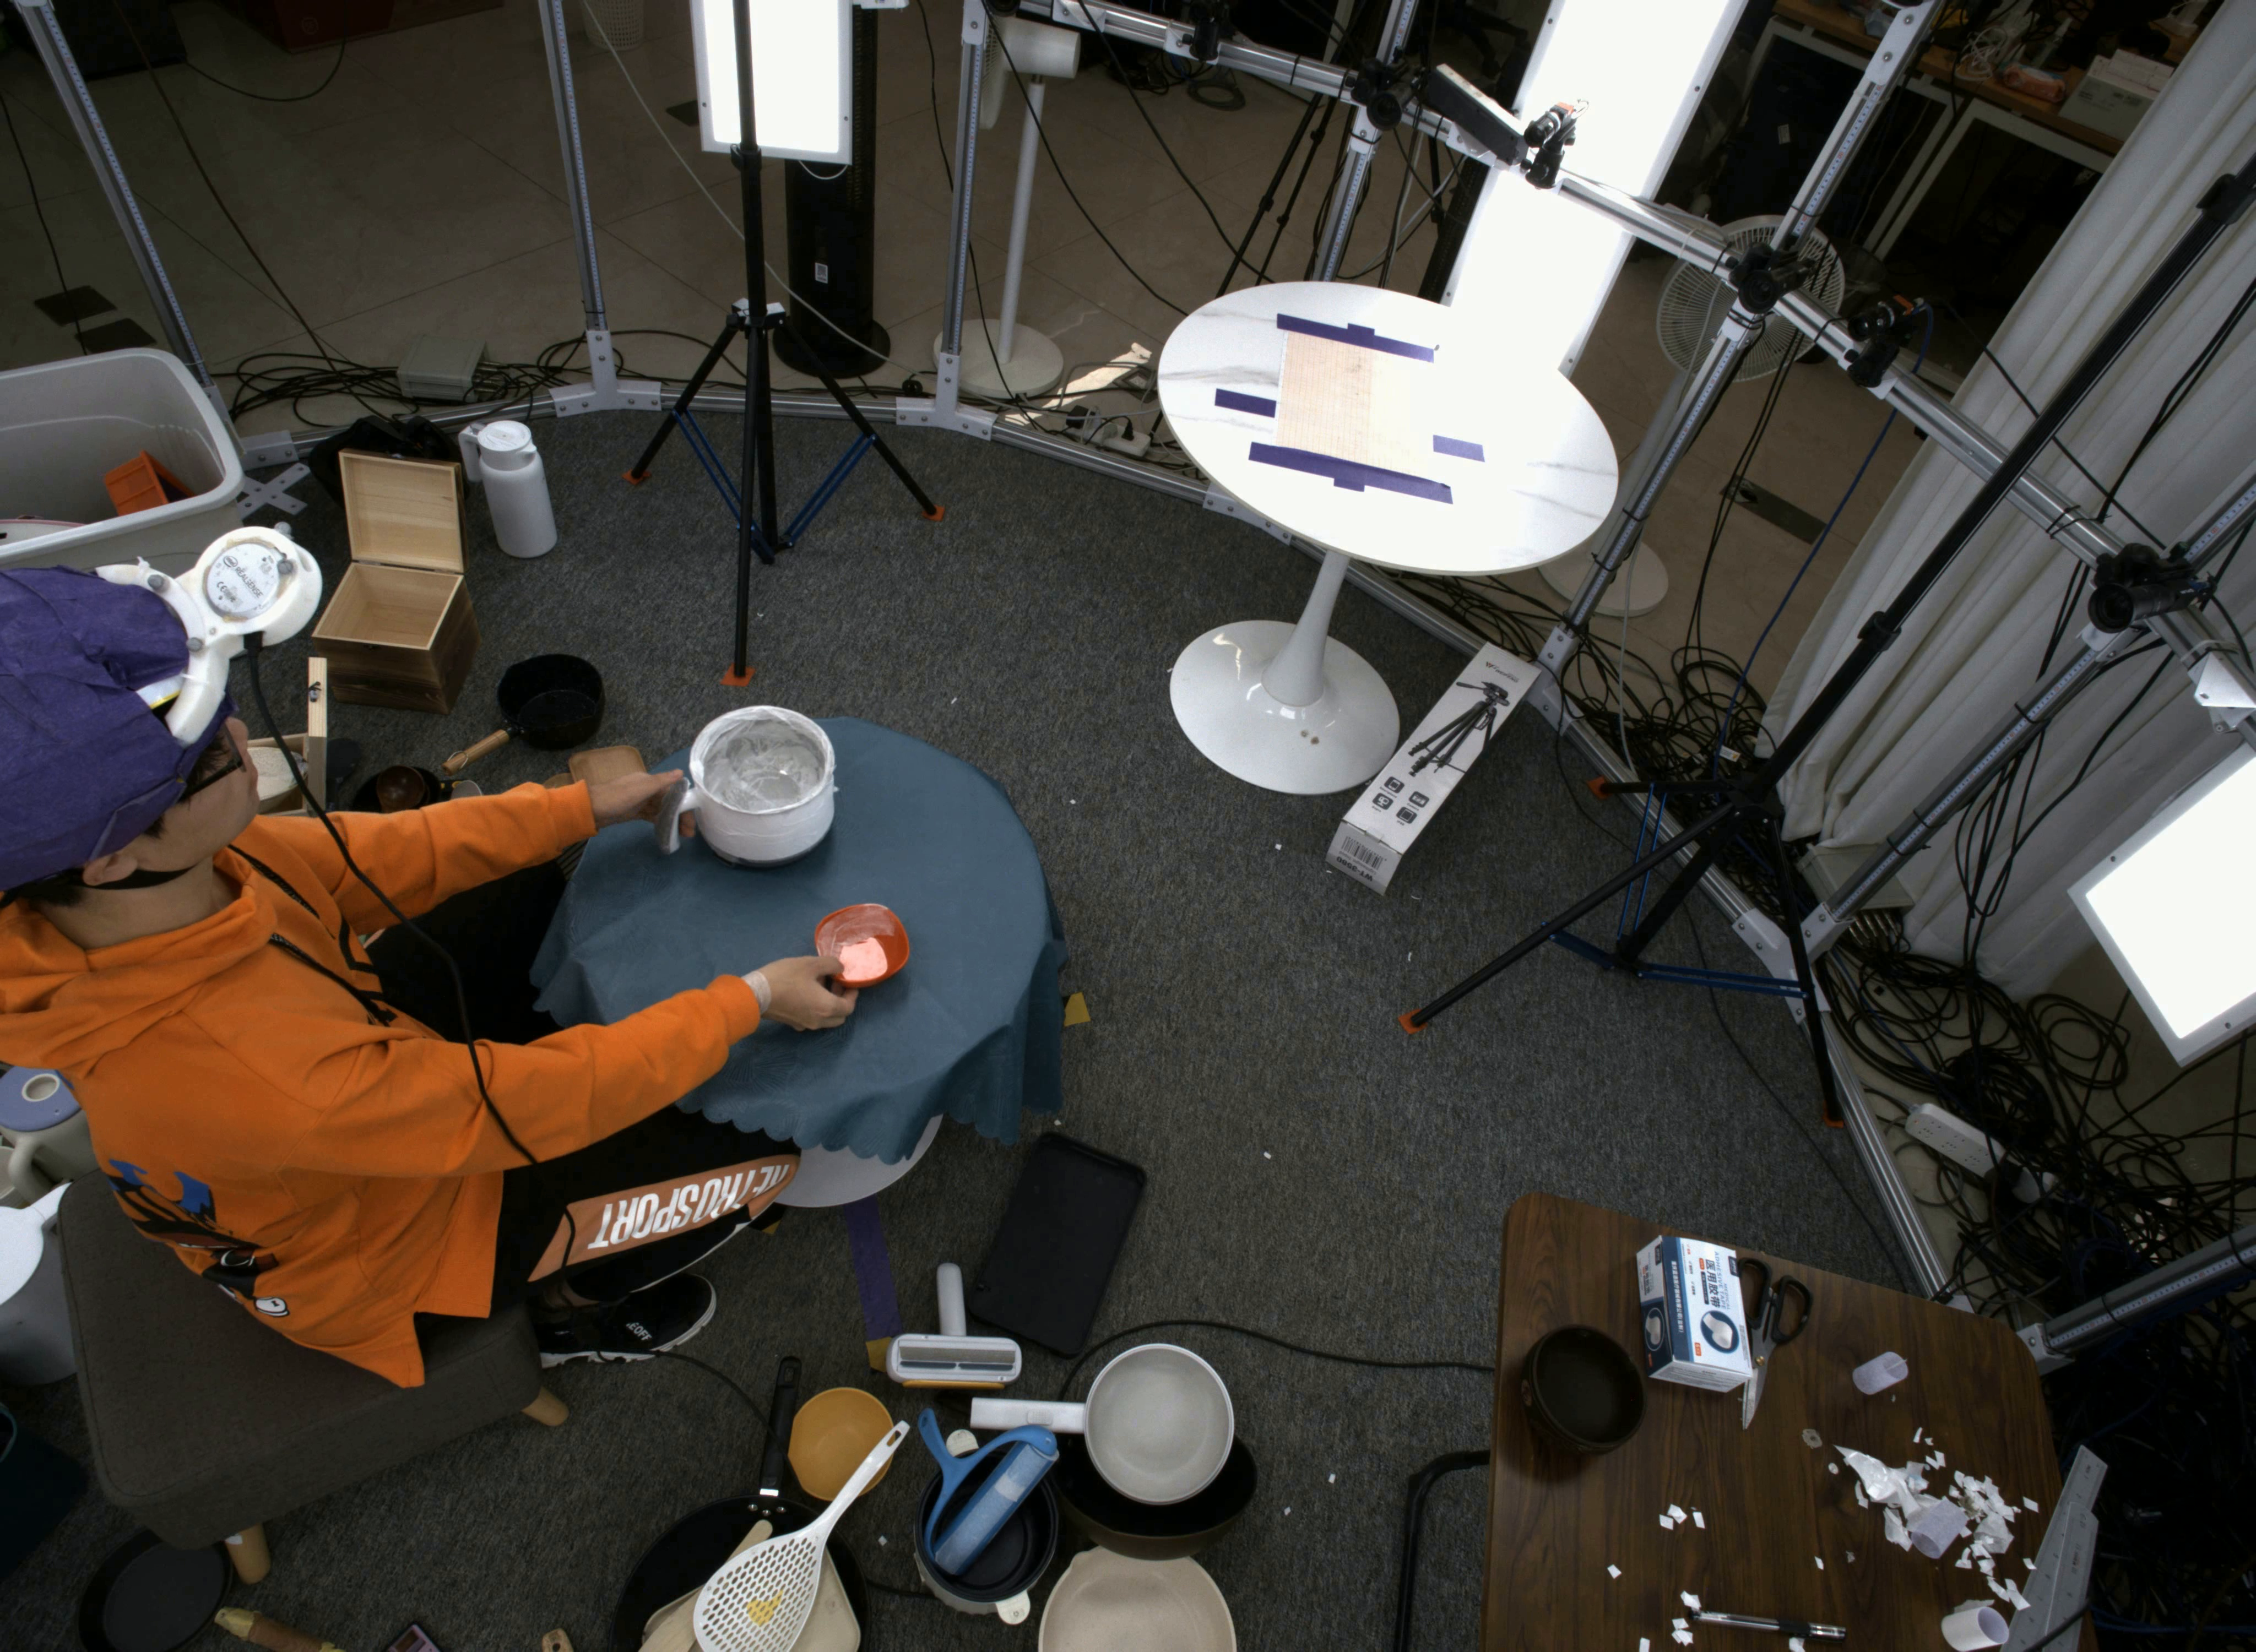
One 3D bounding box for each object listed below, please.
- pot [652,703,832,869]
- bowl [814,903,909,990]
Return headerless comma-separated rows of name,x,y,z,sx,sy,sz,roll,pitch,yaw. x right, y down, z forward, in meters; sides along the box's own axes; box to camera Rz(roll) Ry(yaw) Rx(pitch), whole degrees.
pot,-0.490,-0.038,1.636,0.235,0.139,0.174,-22,61,-28
bowl,-0.327,0.154,1.590,0.119,0.052,0.117,9,52,-10
